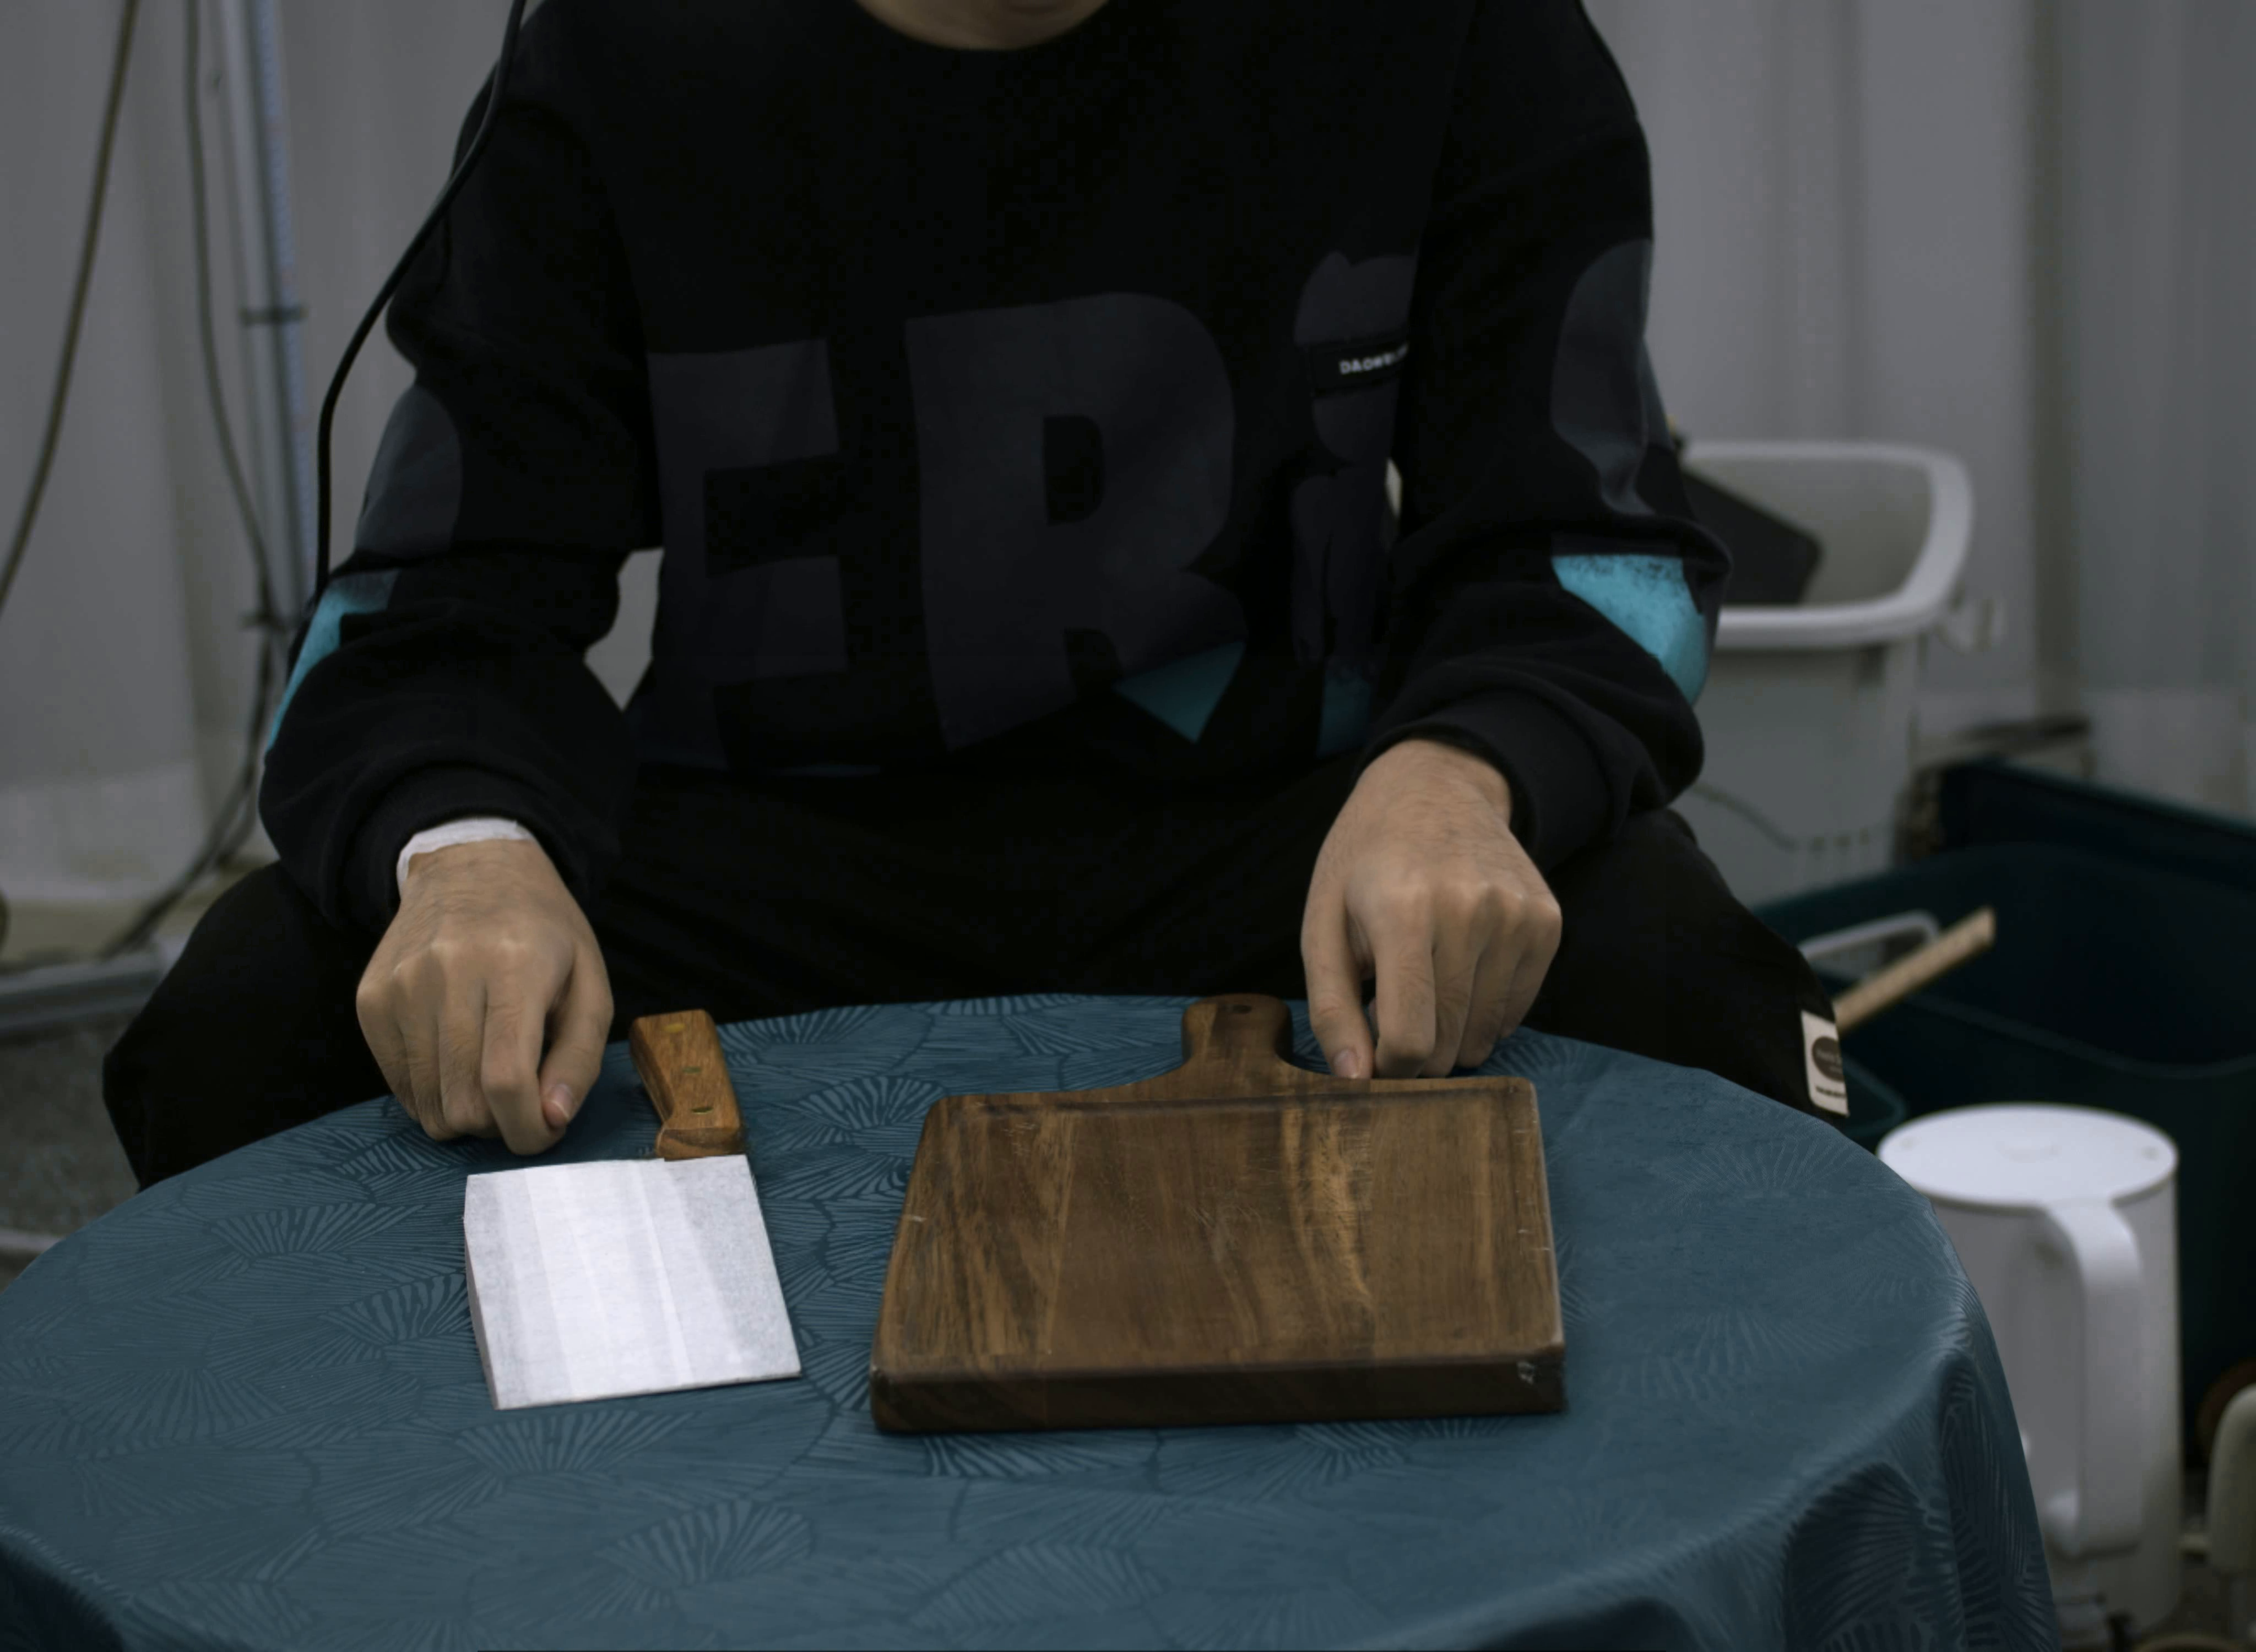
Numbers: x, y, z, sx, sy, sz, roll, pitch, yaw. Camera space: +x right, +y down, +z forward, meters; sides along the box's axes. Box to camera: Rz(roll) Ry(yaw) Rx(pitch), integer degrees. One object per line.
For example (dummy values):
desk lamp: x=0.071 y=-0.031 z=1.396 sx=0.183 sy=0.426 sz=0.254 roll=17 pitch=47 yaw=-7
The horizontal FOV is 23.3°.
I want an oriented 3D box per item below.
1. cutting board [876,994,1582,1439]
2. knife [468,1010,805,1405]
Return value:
cutting board: x=0.031 y=0.112 z=1.679 sx=0.200 sy=0.023 sz=0.354 roll=-2 pitch=15 yaw=2
knife: x=-0.159 y=0.118 z=1.706 sx=0.092 sy=0.021 sz=0.308 roll=-7 pitch=18 yaw=-7
